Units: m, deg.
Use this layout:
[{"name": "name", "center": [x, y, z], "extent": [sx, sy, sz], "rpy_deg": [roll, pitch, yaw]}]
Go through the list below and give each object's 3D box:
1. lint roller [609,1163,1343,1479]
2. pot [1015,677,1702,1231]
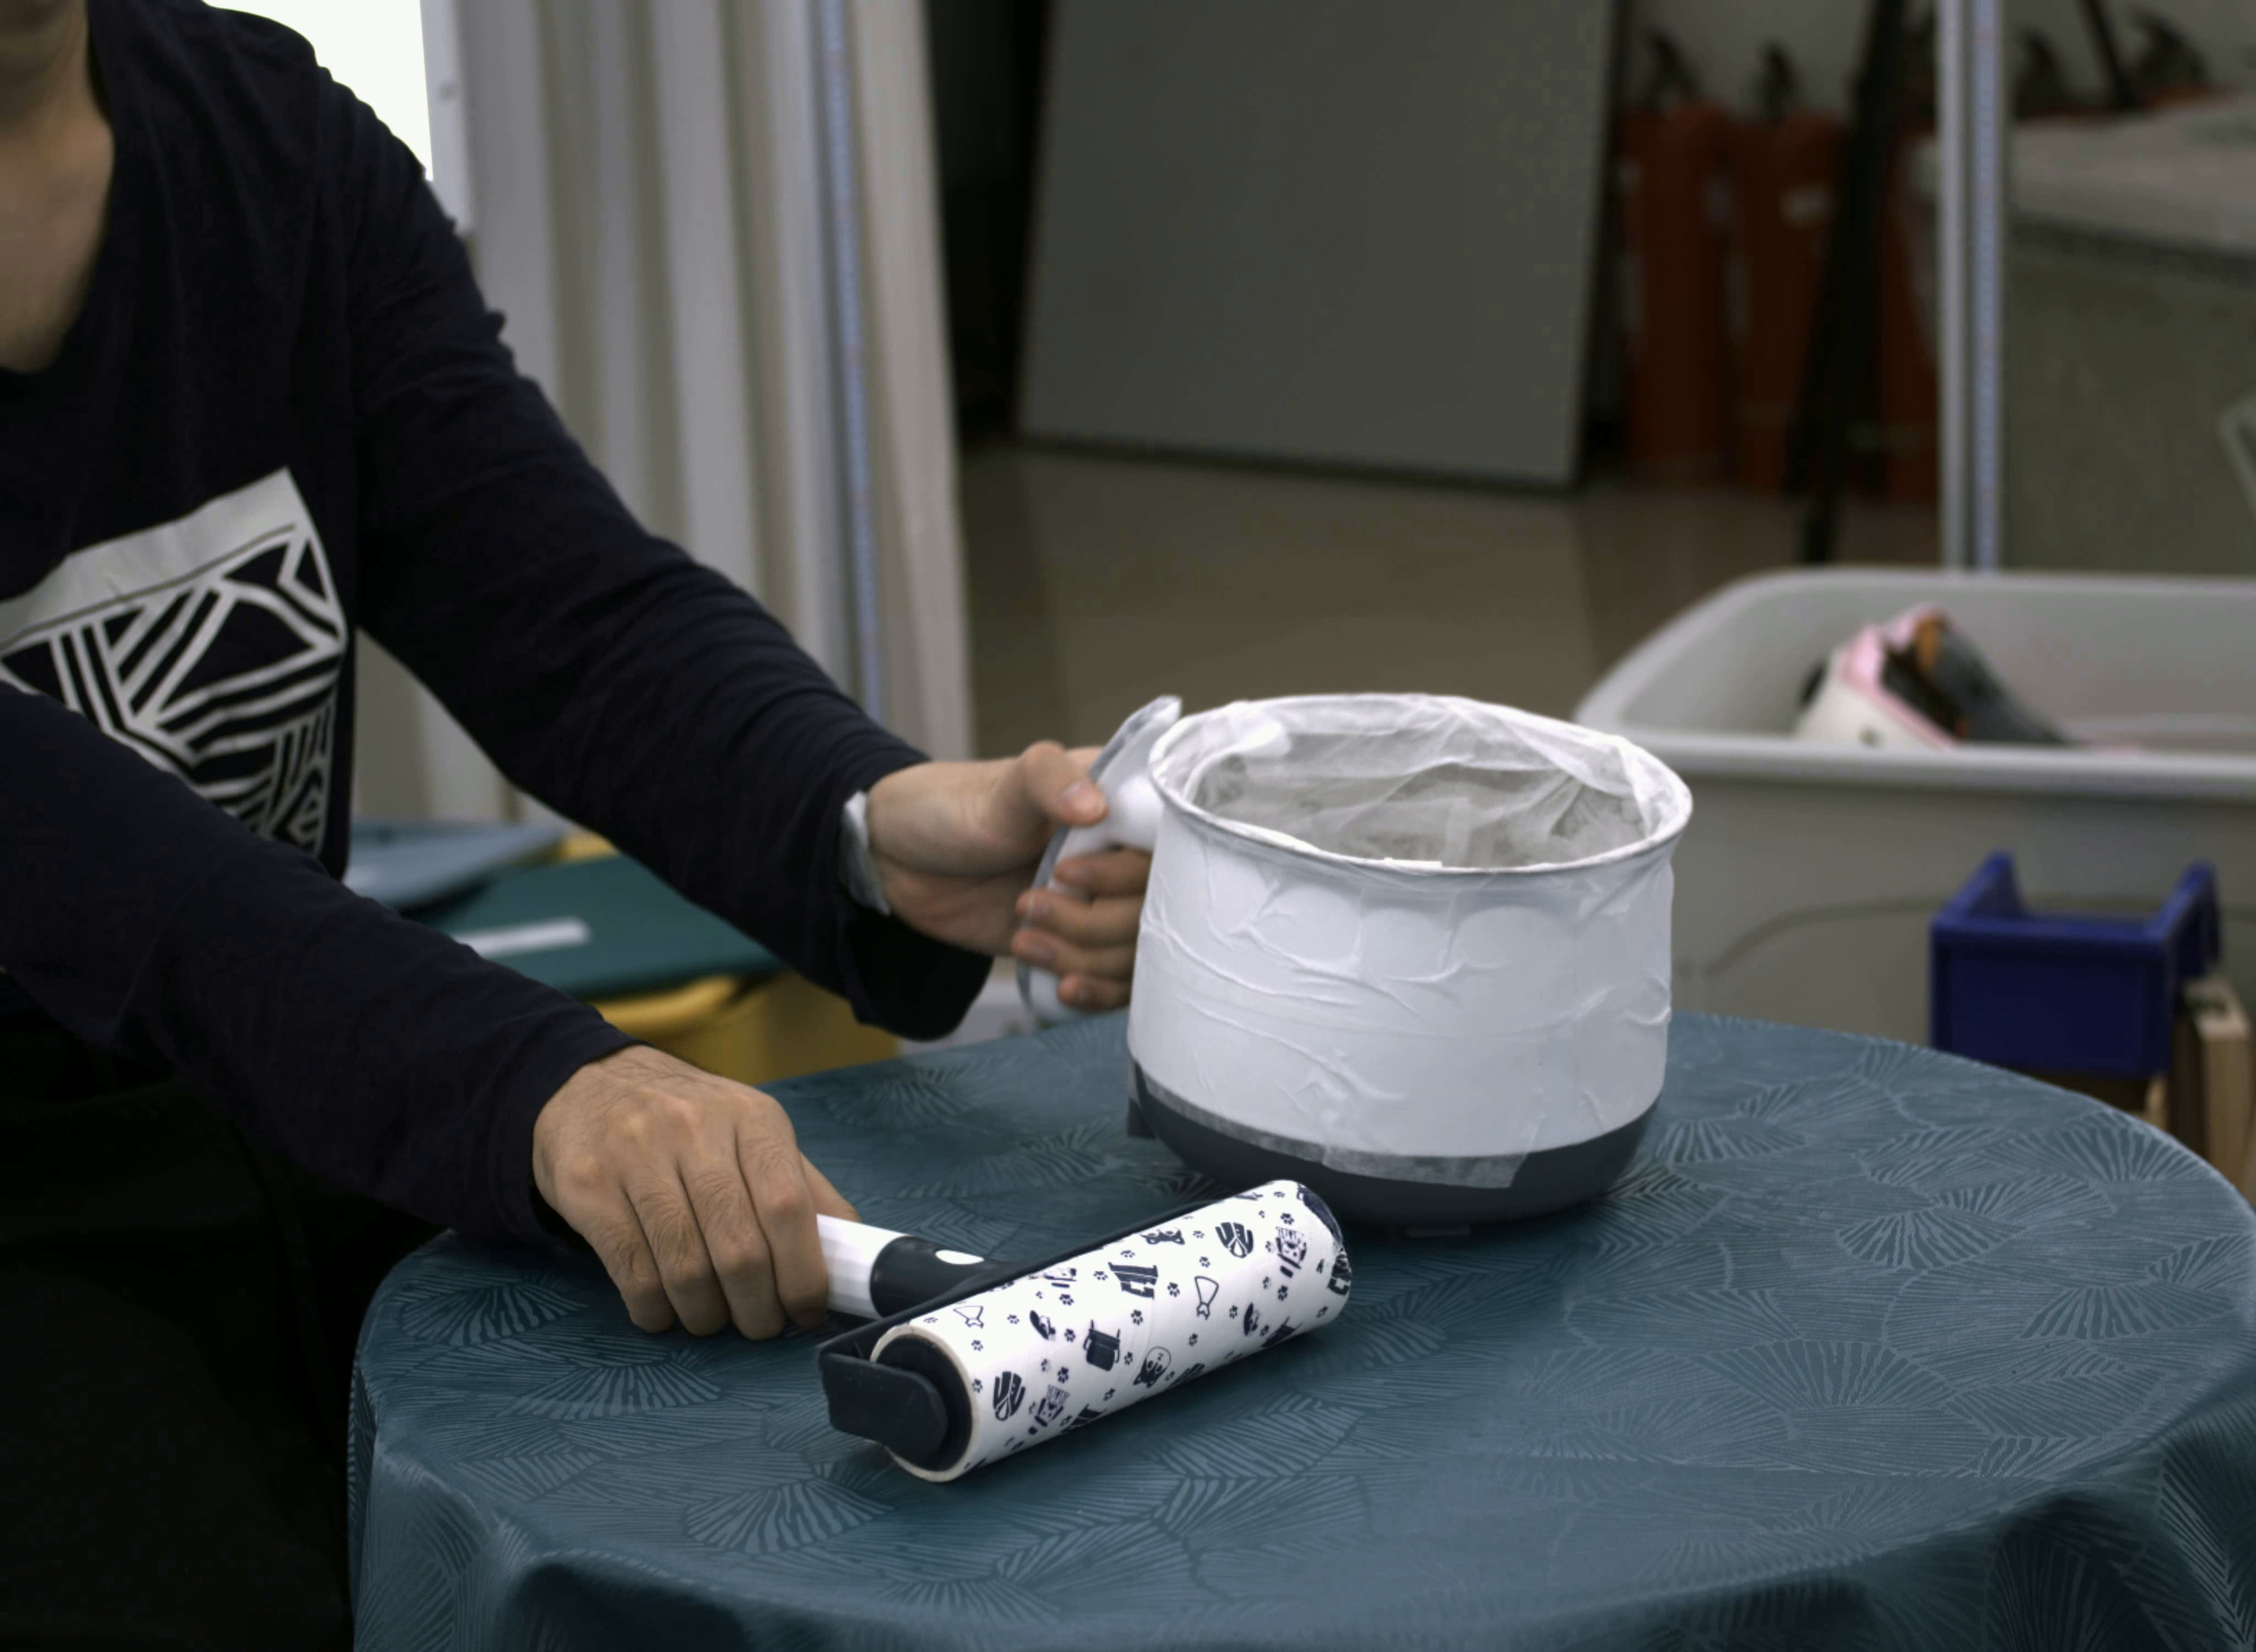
[{"name": "lint roller", "center": [-0.077, 0.136, 1.643], "extent": [0.249, 0.051, 0.173], "rpy_deg": [6, 18, 45]}, {"name": "pot", "center": [0.067, 0.035, 1.759], "extent": [0.235, 0.138, 0.176], "rpy_deg": [16, 18, 30]}]
